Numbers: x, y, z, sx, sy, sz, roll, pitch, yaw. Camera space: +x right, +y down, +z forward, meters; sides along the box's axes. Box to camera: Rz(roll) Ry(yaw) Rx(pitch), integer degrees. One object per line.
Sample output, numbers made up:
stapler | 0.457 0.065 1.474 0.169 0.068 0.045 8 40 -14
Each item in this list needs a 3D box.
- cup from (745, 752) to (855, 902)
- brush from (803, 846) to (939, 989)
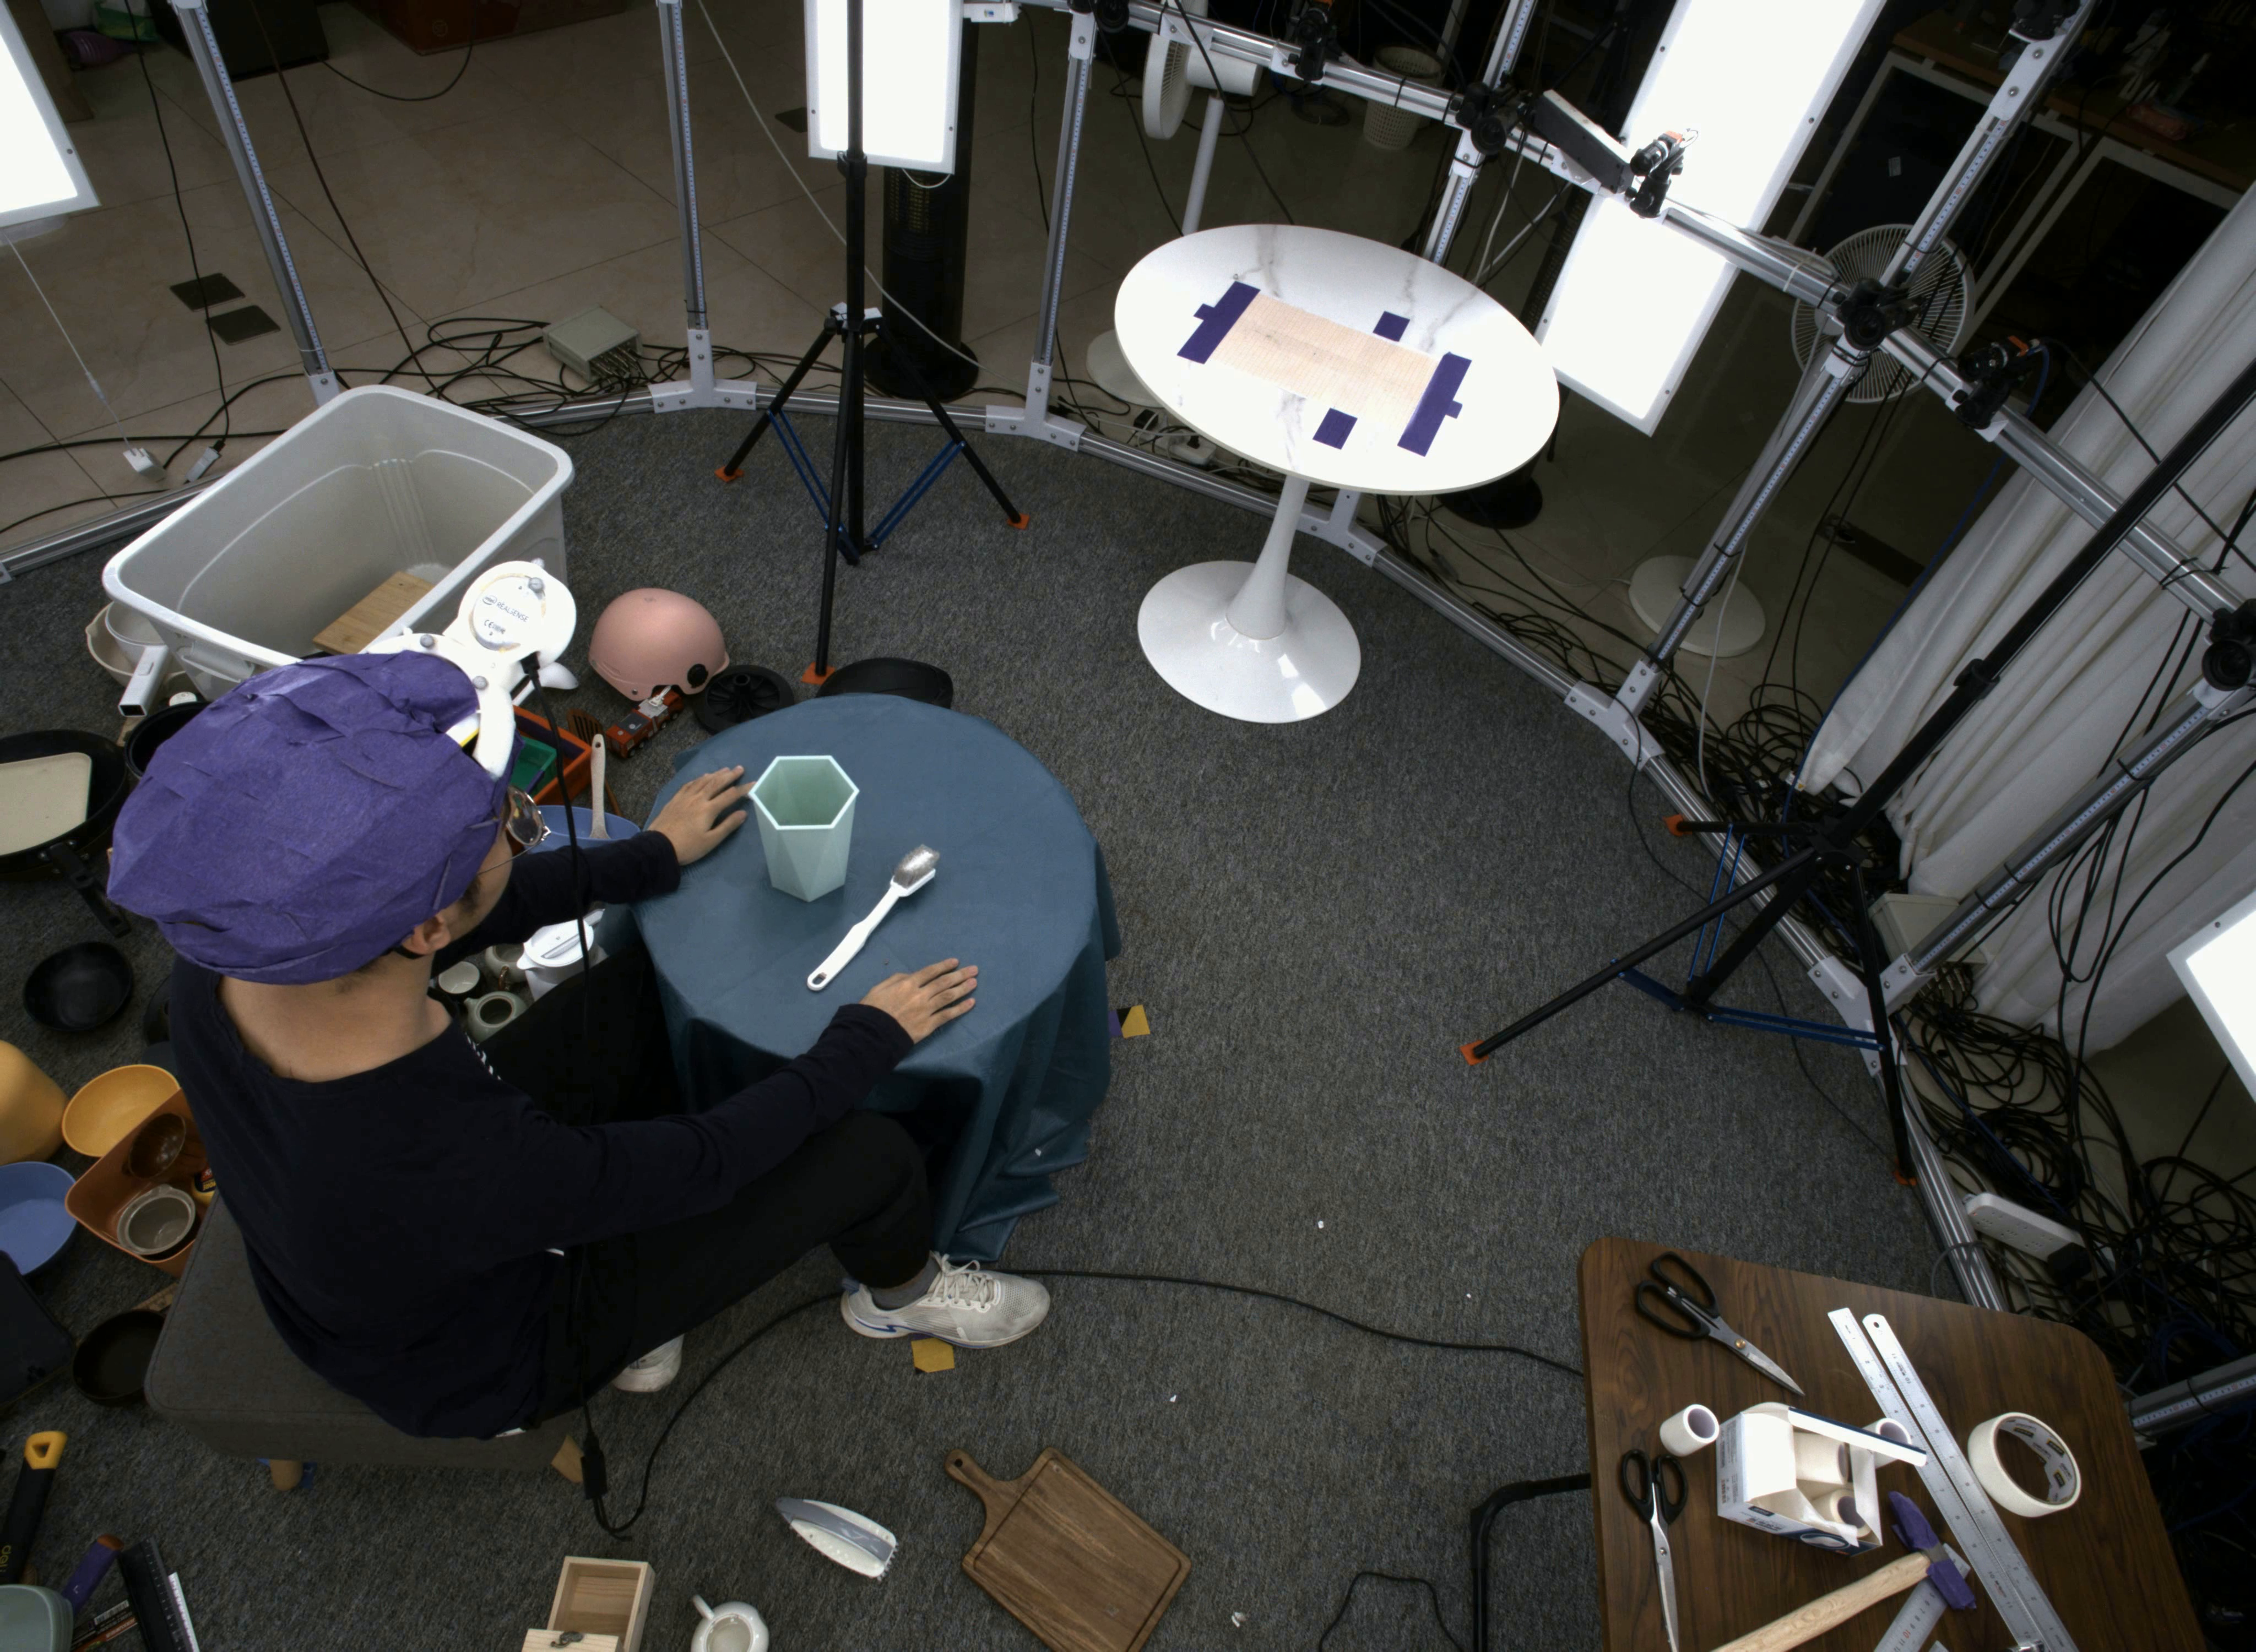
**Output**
cup | -0.405 0.004 1.621 0.131 0.166 0.112 -4 54 -14
brush | -0.323 0.109 1.639 0.034 0.051 0.243 33 53 13
